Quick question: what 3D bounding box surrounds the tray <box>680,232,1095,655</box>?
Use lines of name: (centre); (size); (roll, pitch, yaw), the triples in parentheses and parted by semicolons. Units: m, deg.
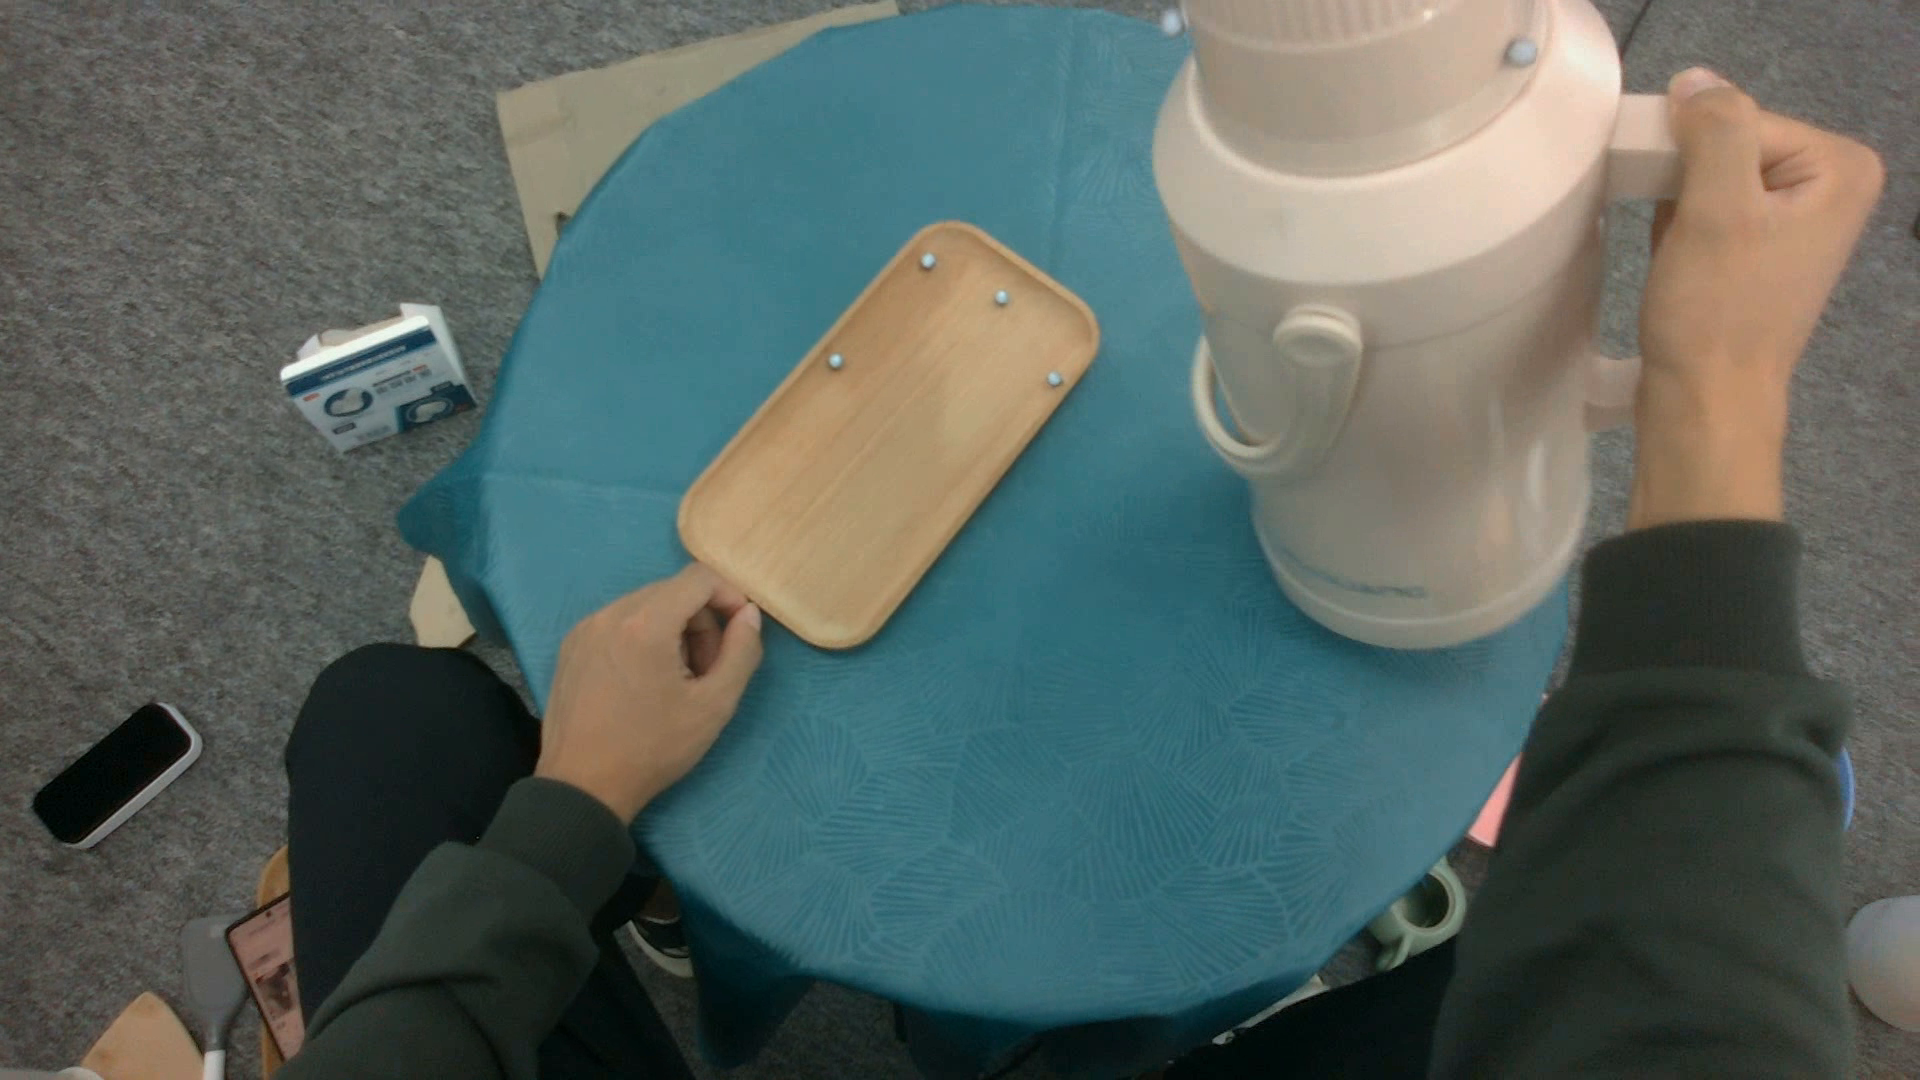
tray: (-0.037, -0.059, 0.767); (0.130, 0.023, 0.251); (35, 73, 11)

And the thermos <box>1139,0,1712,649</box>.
thermos: (0.185, -0.102, 0.568); (0.207, 0.405, 0.176); (10, 65, 27)
